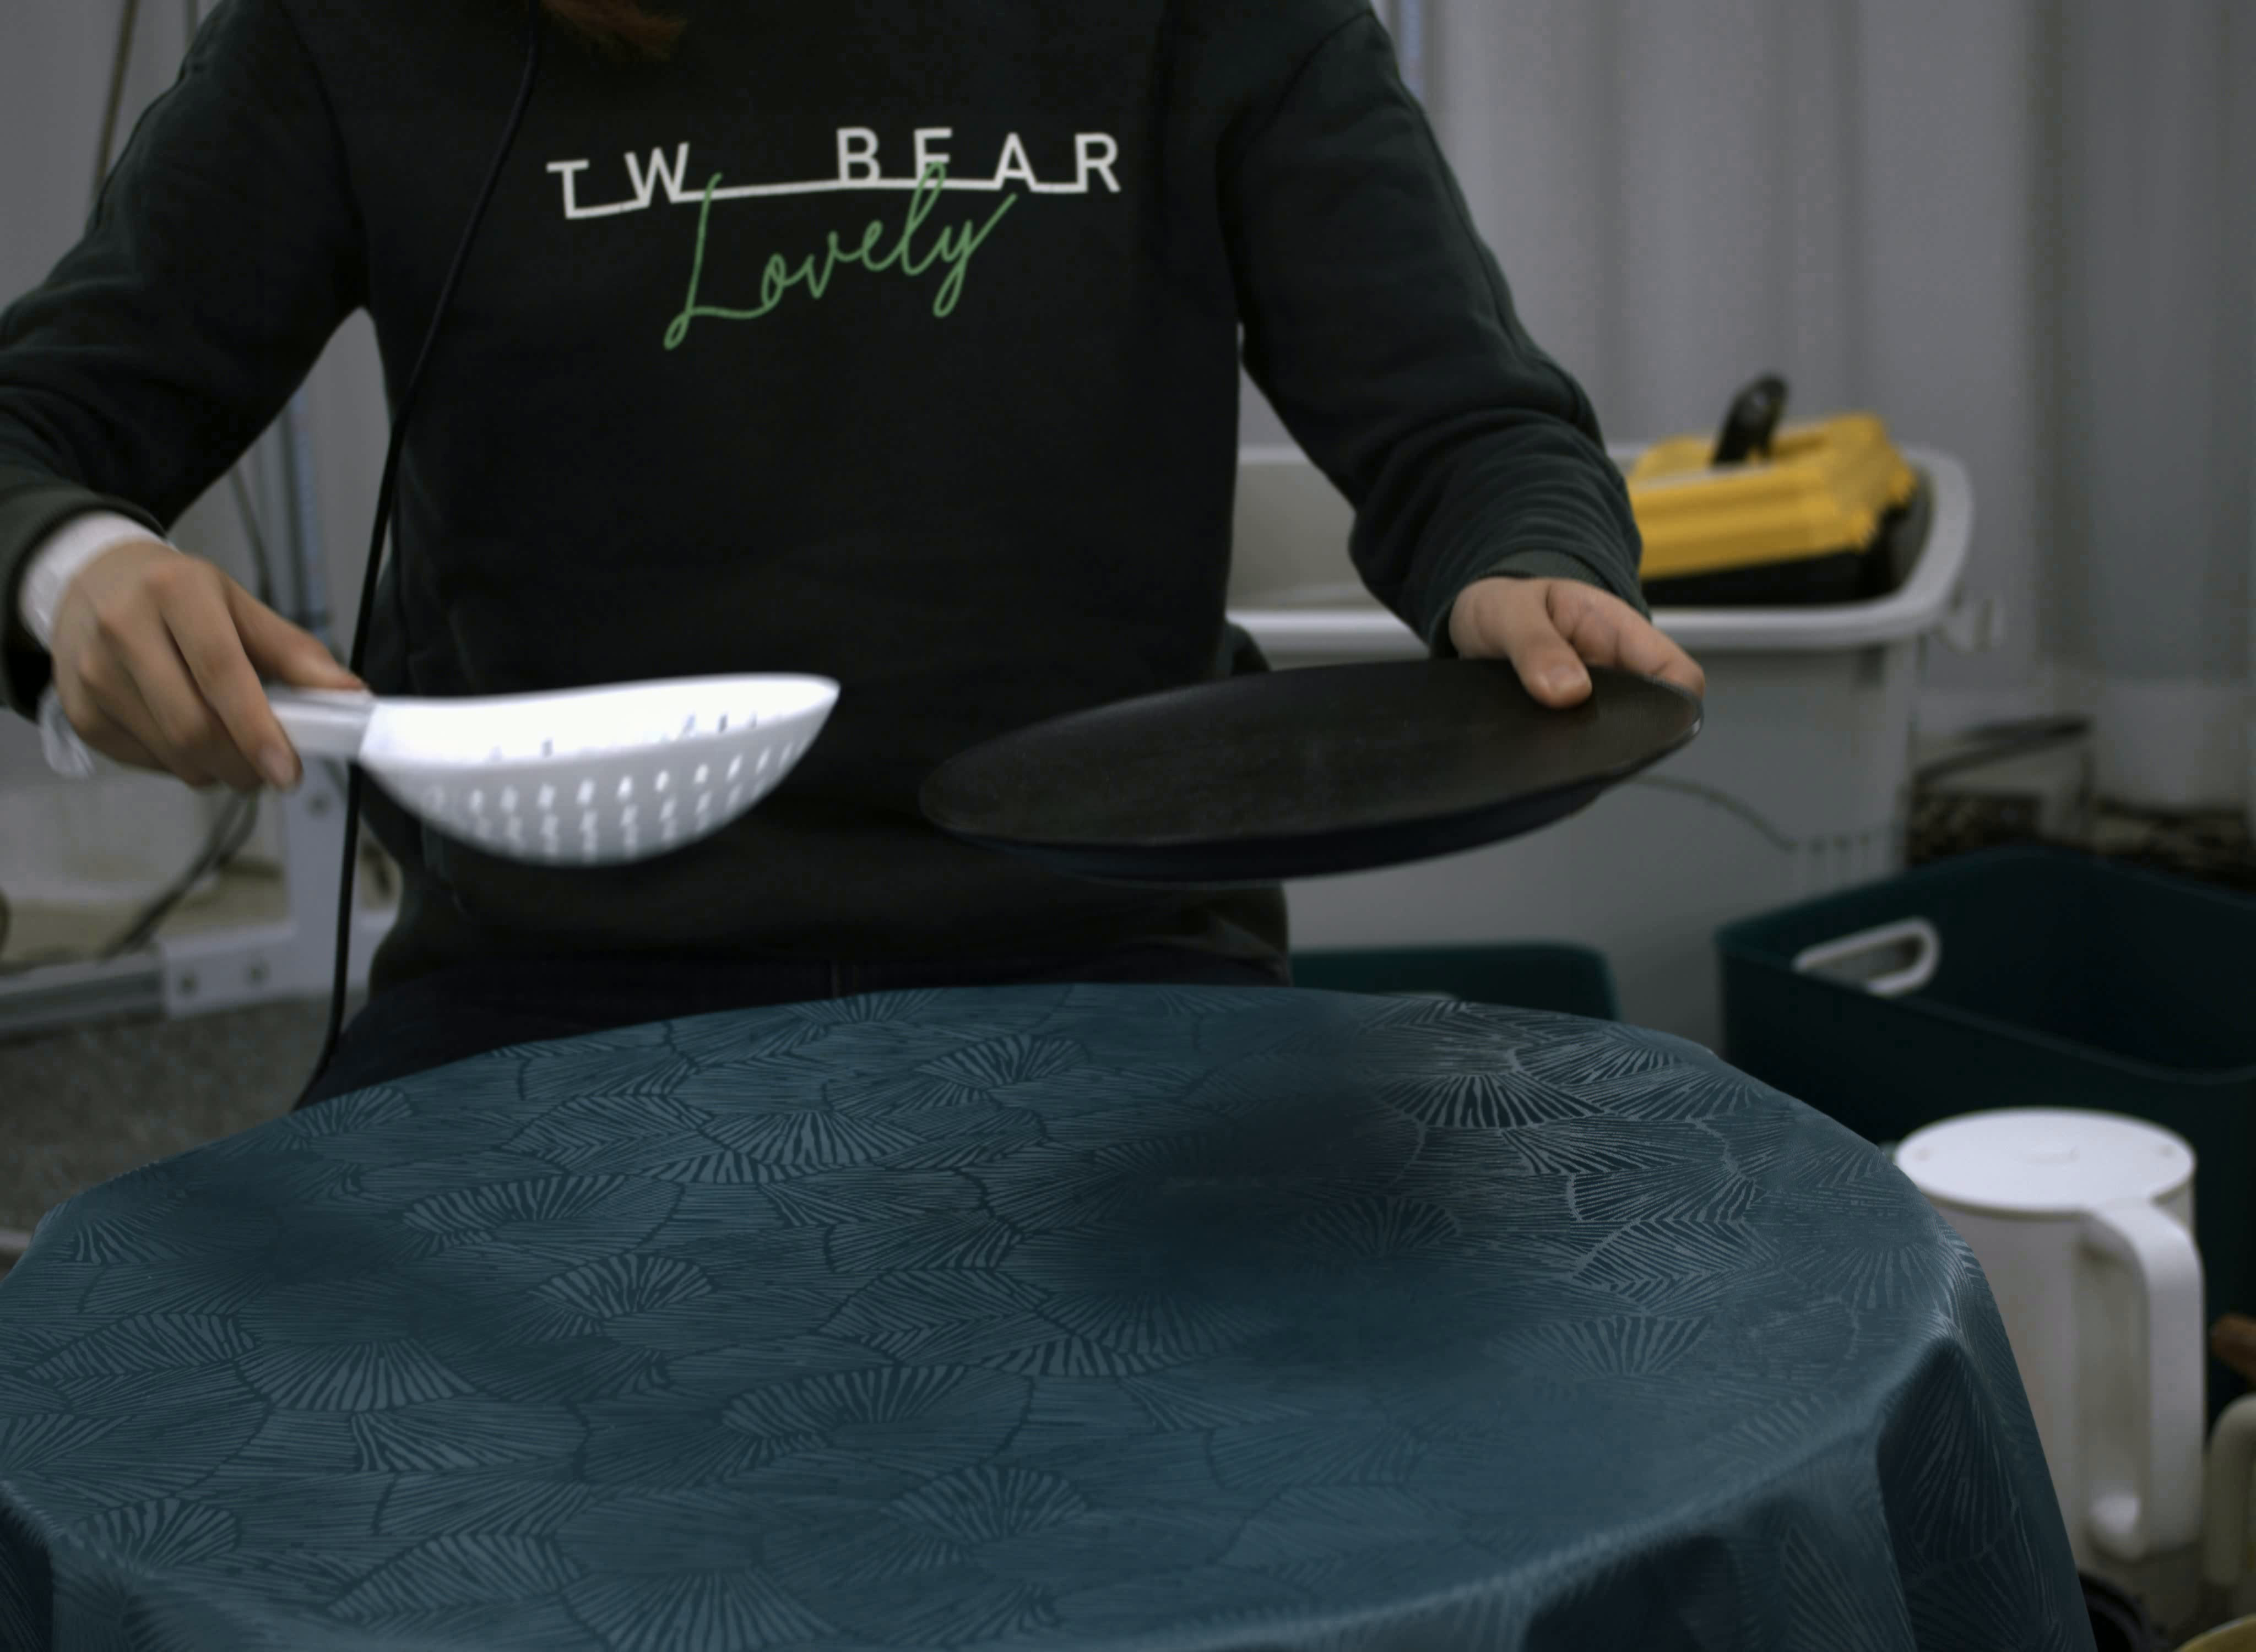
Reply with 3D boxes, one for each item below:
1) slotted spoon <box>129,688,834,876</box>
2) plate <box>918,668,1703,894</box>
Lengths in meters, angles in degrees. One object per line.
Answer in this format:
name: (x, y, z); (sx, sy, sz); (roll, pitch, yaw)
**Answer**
slotted spoon: (-0.212, -0.025, 1.633); (0.135, 0.045, 0.352); (-12, 15, -34)
plate: (0.056, -0.012, 1.688); (0.243, 0.023, 0.246); (-6, 13, 1)
